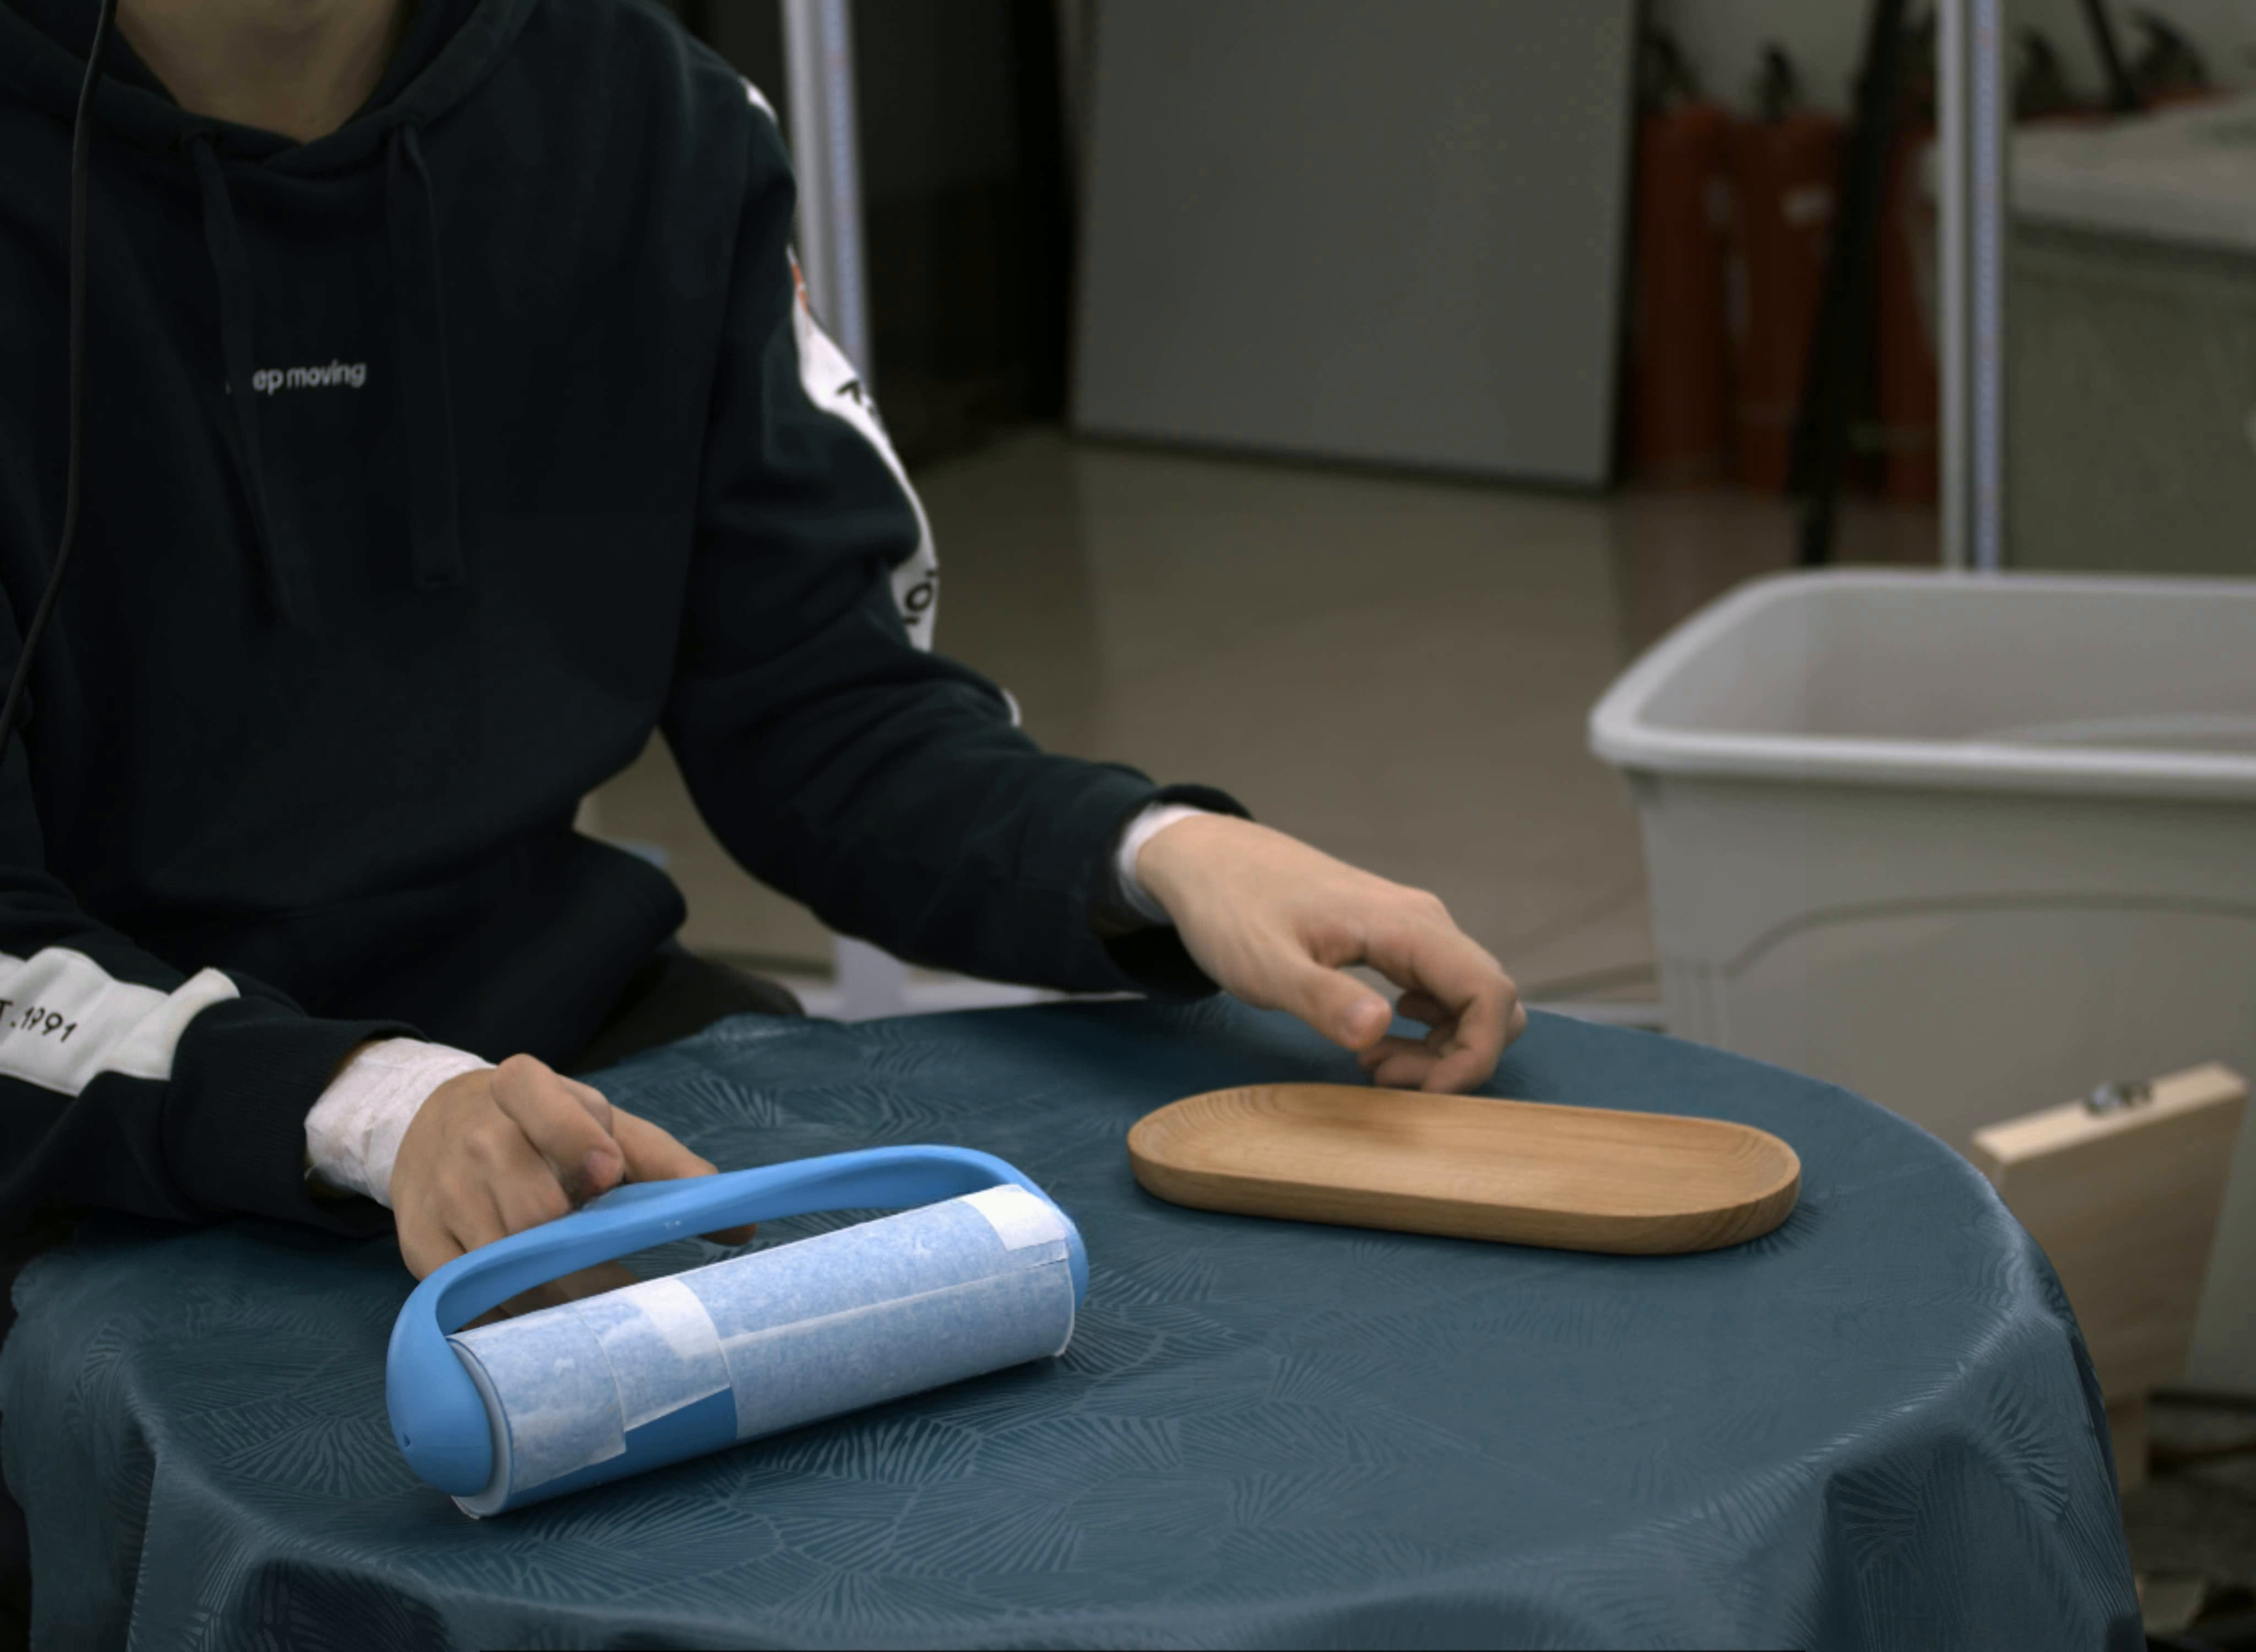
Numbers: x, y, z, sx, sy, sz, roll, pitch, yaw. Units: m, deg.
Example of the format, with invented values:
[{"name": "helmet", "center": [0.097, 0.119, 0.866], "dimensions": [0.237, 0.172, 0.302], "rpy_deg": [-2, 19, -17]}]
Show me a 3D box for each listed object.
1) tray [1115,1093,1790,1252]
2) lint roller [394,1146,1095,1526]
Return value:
[{"name": "tray", "center": [0.104, 0.112, 1.745], "dimensions": [0.232, 0.020, 0.100], "rpy_deg": [1, 13, 28]}, {"name": "lint roller", "center": [-0.142, 0.140, 1.615], "dimensions": [0.224, 0.068, 0.182], "rpy_deg": [-16, 19, -33]}]
